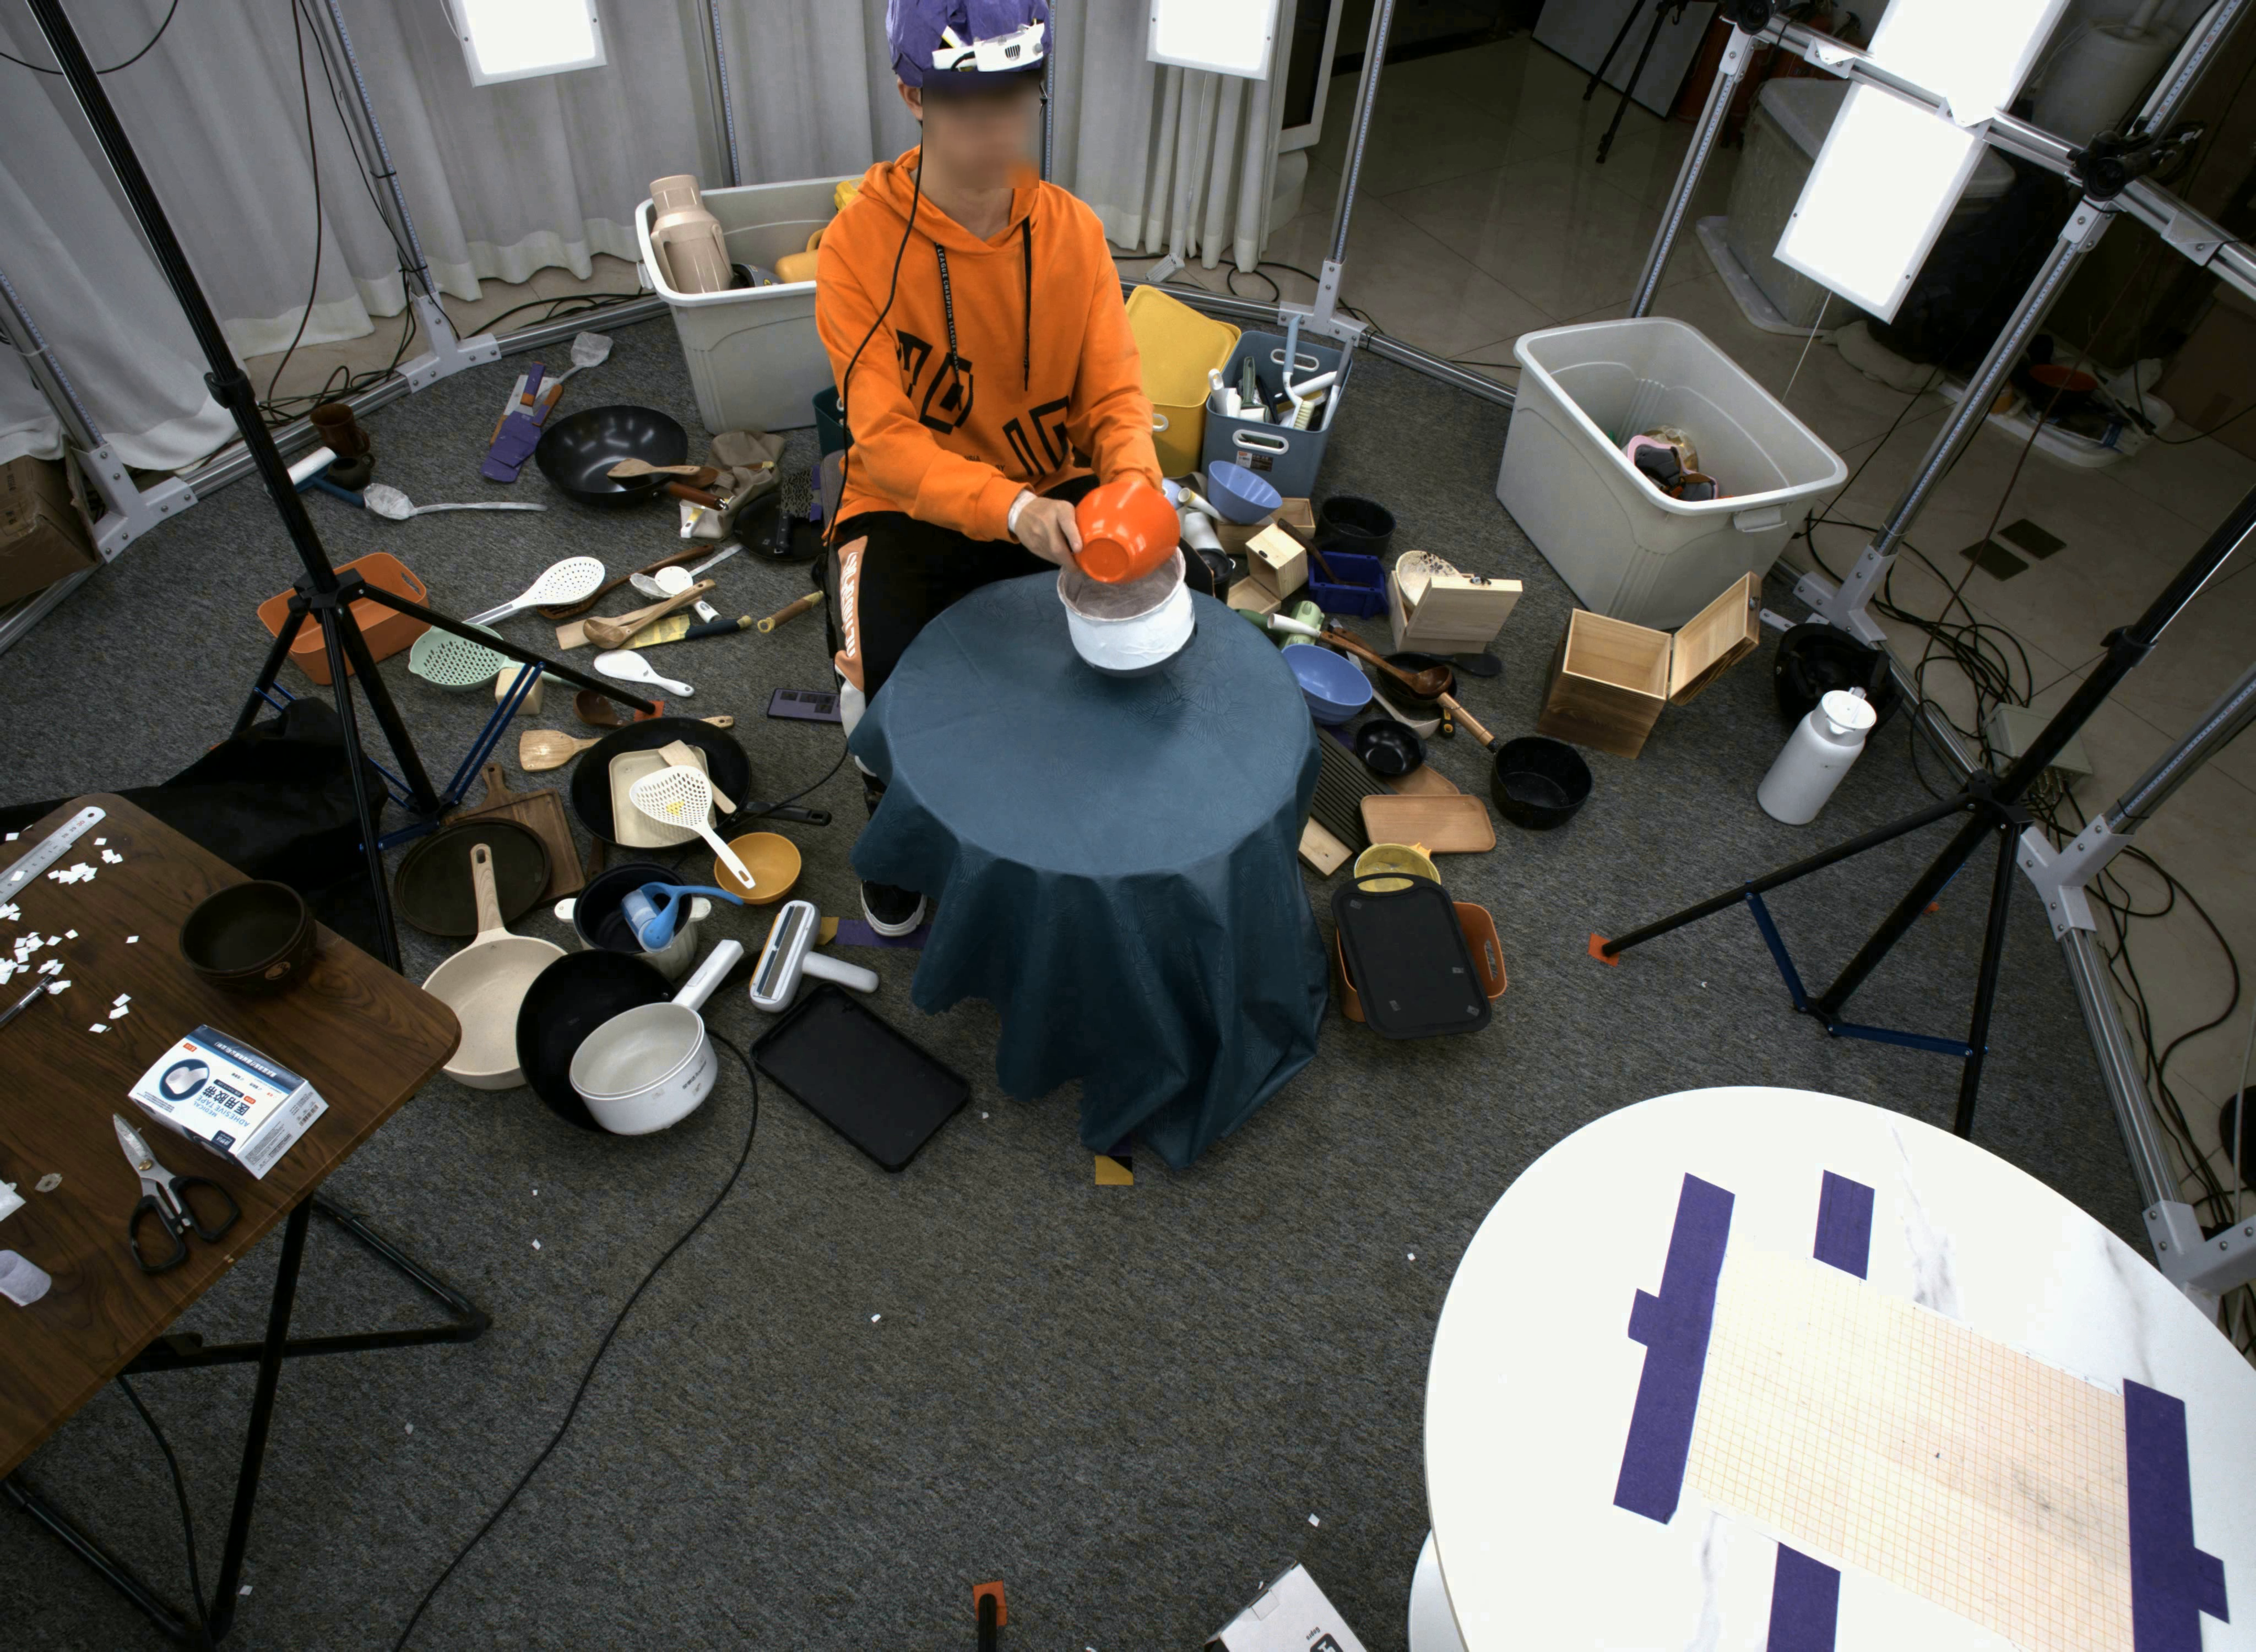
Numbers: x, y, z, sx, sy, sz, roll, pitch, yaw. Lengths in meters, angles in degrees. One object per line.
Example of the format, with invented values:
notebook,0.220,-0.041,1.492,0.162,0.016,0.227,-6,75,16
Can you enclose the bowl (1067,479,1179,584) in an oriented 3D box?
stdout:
bowl,-0.012,-0.371,1.695,0.148,0.144,0.107,9,39,3

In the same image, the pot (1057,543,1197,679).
pot,0.004,-0.327,1.803,0.179,0.133,0.239,-2,53,11
